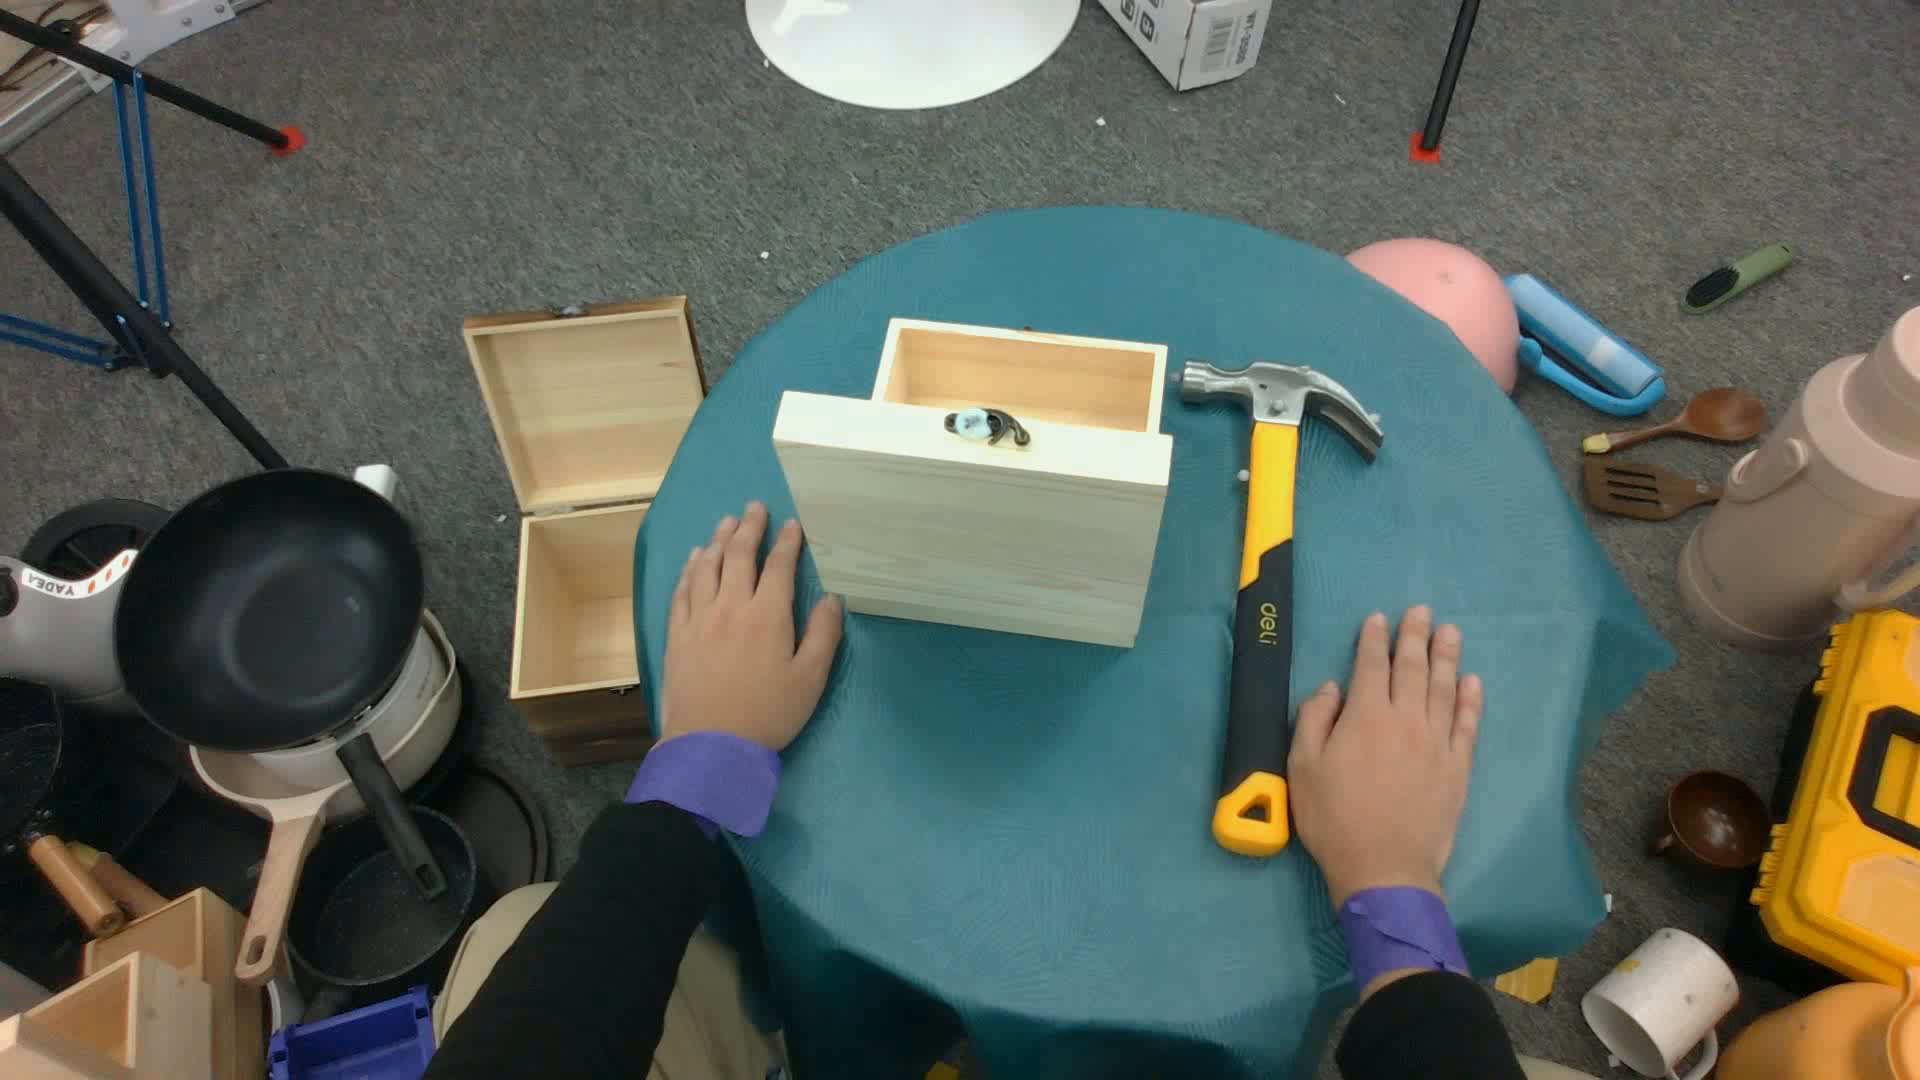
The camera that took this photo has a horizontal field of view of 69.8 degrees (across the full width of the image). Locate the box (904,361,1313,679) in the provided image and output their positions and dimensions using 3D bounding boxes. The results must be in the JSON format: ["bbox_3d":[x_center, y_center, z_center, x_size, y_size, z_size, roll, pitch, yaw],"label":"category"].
[{"bbox_3d":[0.089,-0.030,0.774,0.181,0.252,0.266,-3,56,9],"label":"box"}]

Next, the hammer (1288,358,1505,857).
[{"bbox_3d":[0.271,0.025,0.823,0.131,0.032,0.340,-3,55,12],"label":"hammer"}]
